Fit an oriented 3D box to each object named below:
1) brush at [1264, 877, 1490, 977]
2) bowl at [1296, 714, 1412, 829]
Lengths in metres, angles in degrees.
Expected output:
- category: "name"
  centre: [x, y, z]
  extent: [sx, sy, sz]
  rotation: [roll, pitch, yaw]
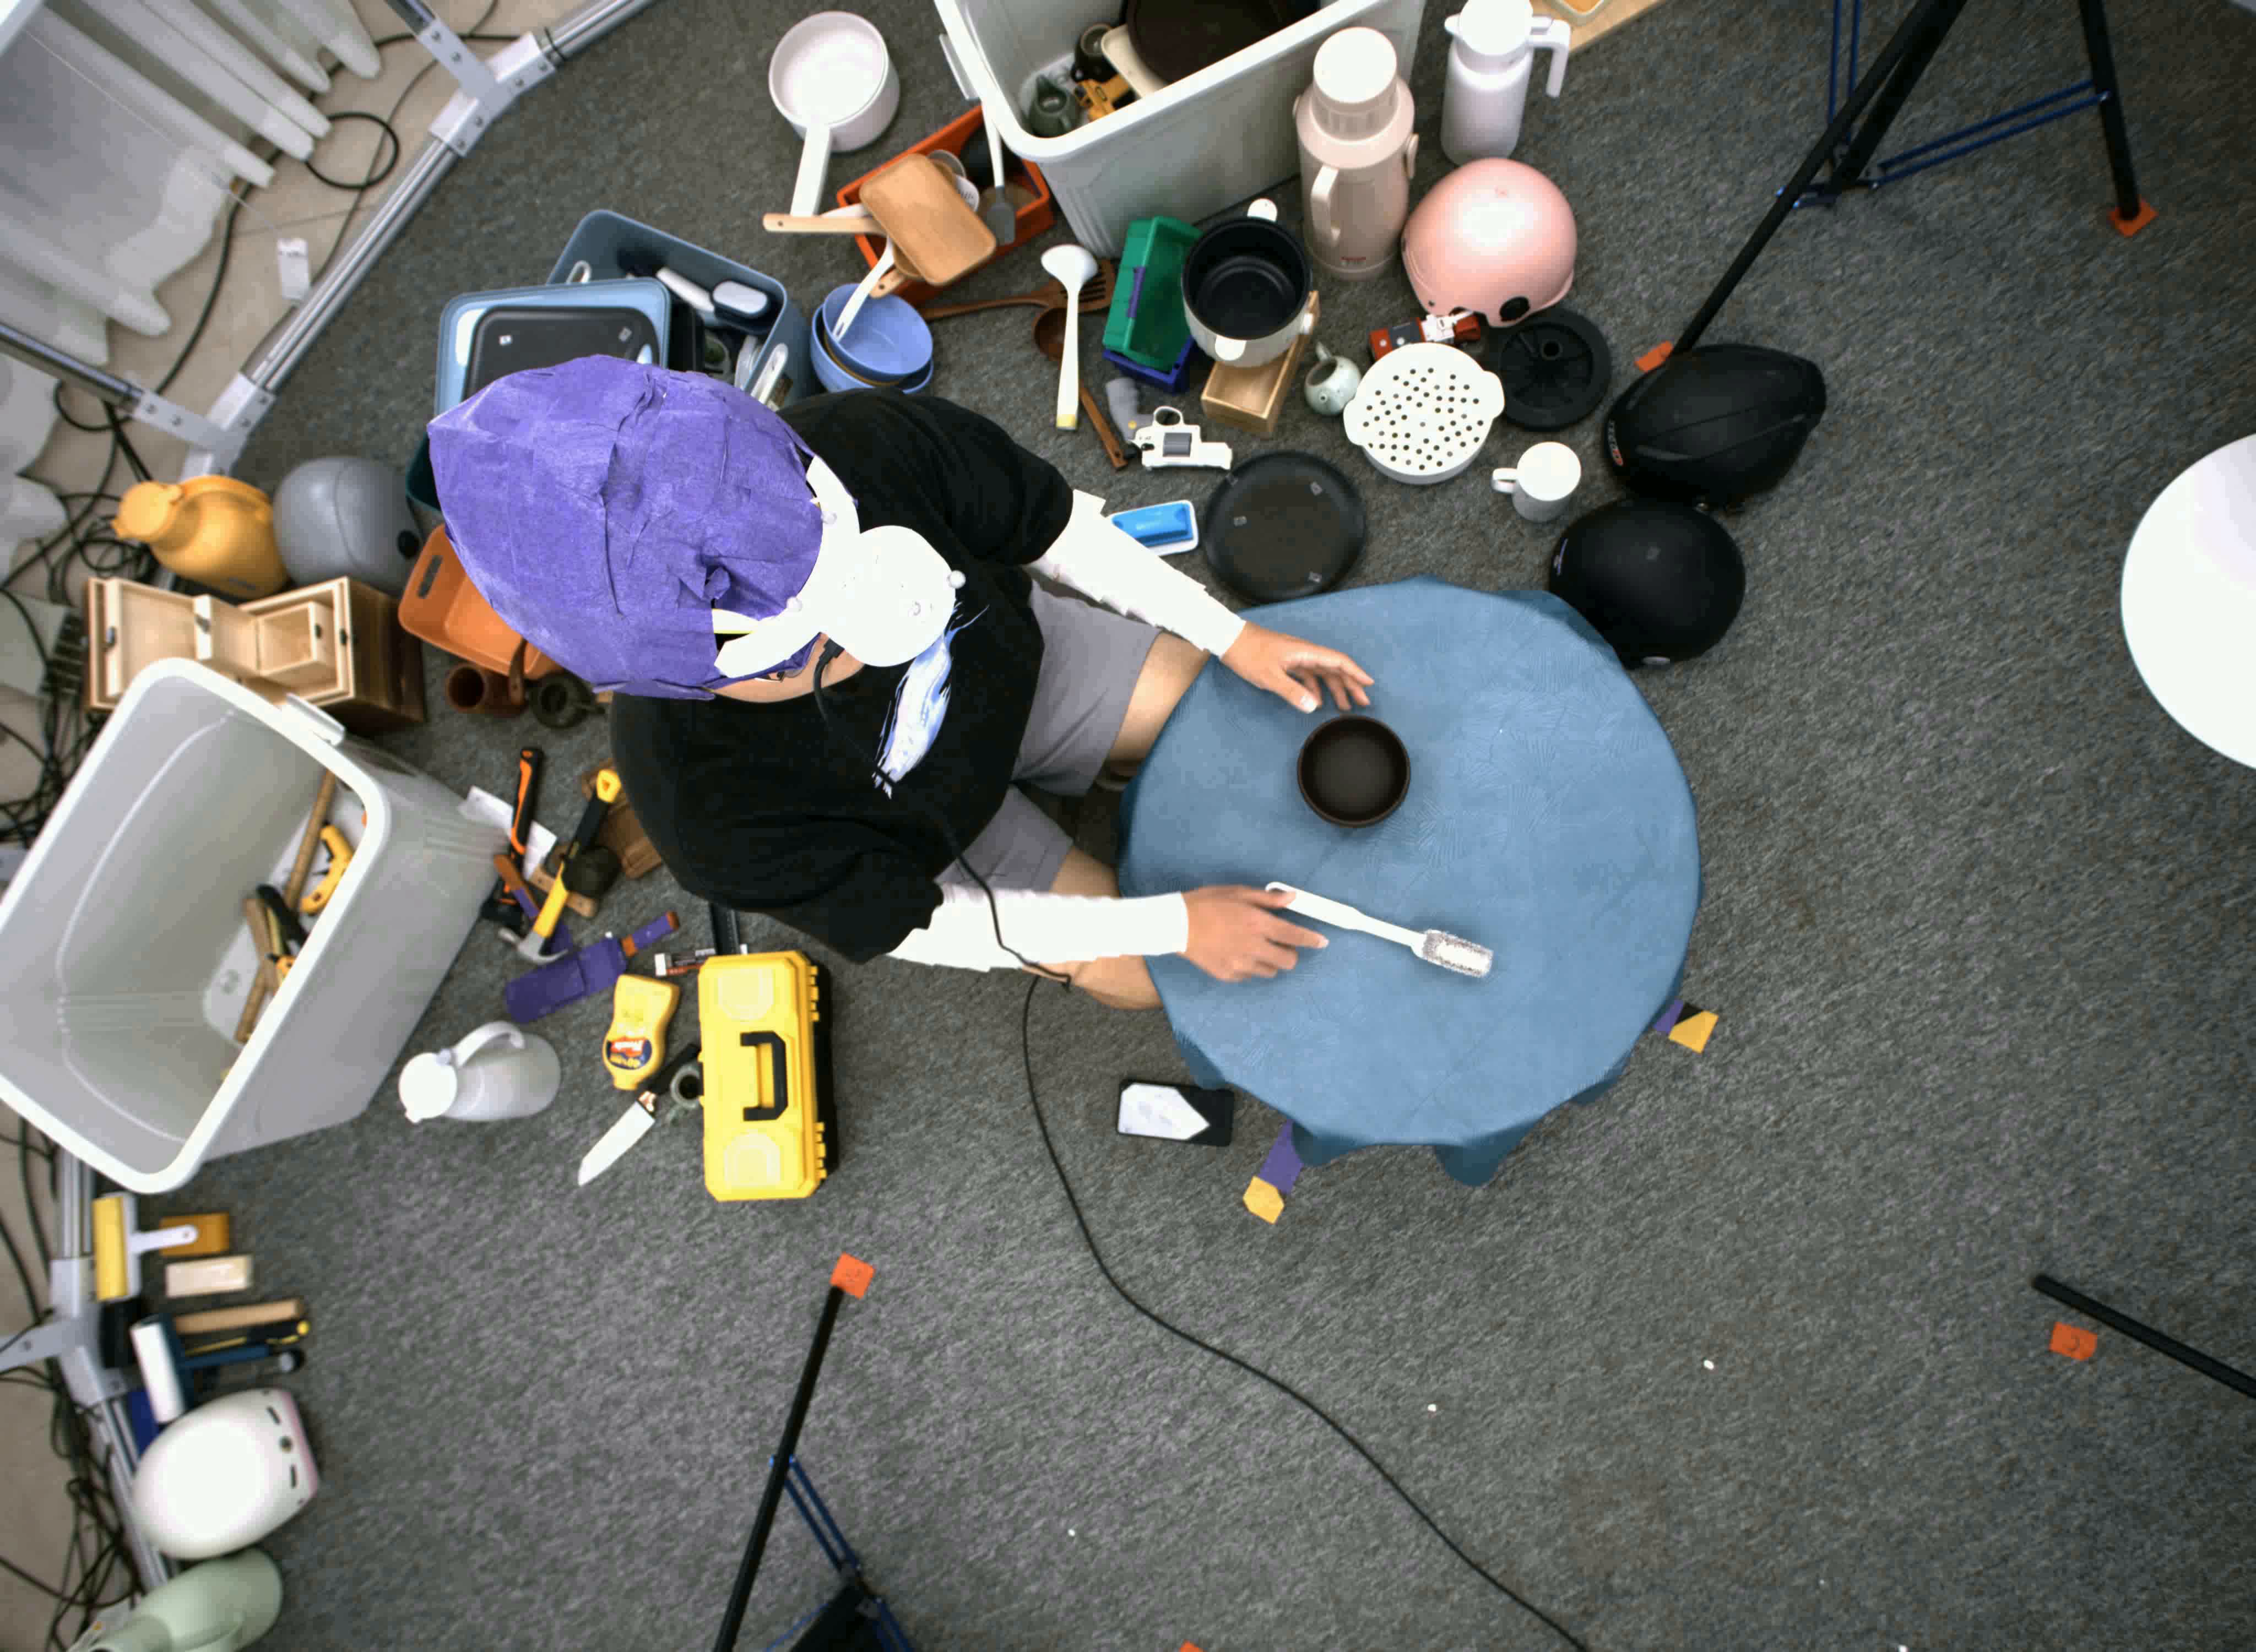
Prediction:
- category: "brush"
  centre: [0.255, 0.100, 1.434]
  extent: [0.243, 0.050, 0.034]
  rotation: [20, 88, 10]
- category: "bowl"
  centre: [0.235, -0.055, 1.435]
  extent: [0.118, 0.070, 0.117]
  rotation: [-1, 87, 12]
